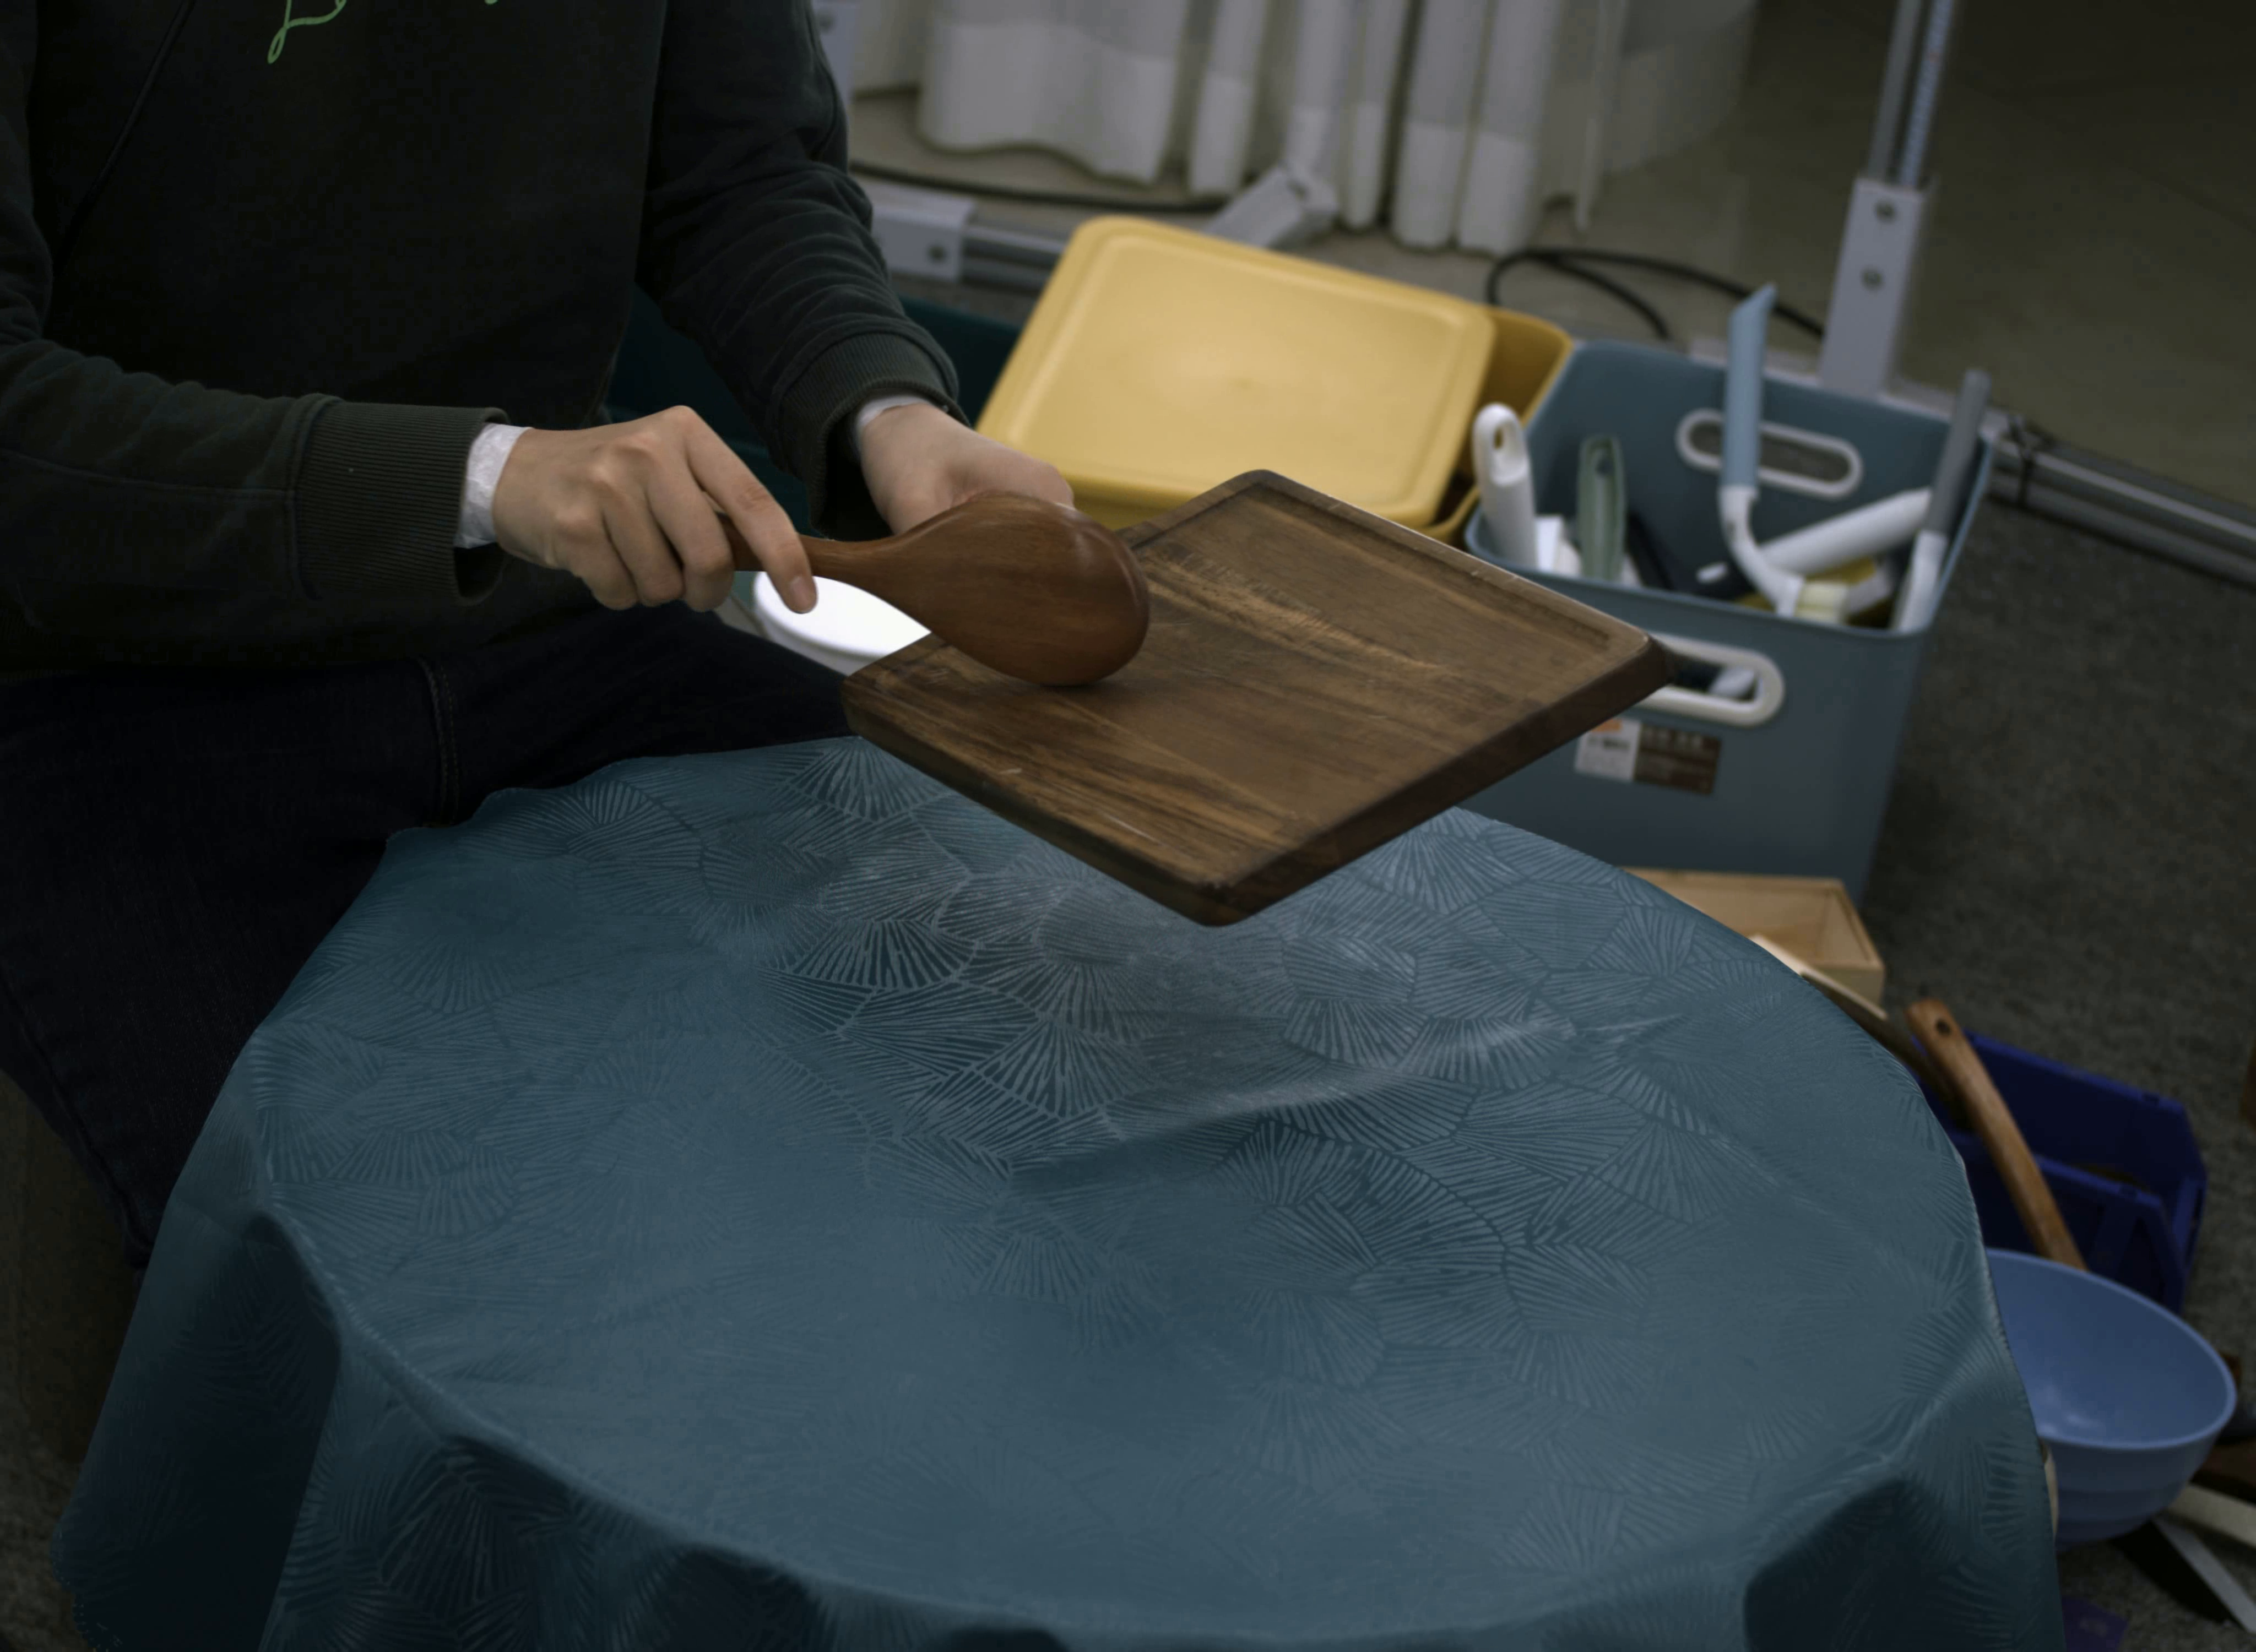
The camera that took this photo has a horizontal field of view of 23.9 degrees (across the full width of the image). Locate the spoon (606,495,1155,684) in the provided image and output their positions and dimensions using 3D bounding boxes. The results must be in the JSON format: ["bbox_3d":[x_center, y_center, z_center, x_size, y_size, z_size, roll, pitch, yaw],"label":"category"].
[{"bbox_3d":[-0.091,-0.091,1.898,0.216,0.075,0.017,11,38,23],"label":"spoon"}]

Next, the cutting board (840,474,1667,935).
[{"bbox_3d":[0.014,-0.062,1.909,0.200,0.023,0.355,-29,30,-22],"label":"cutting board"}]
